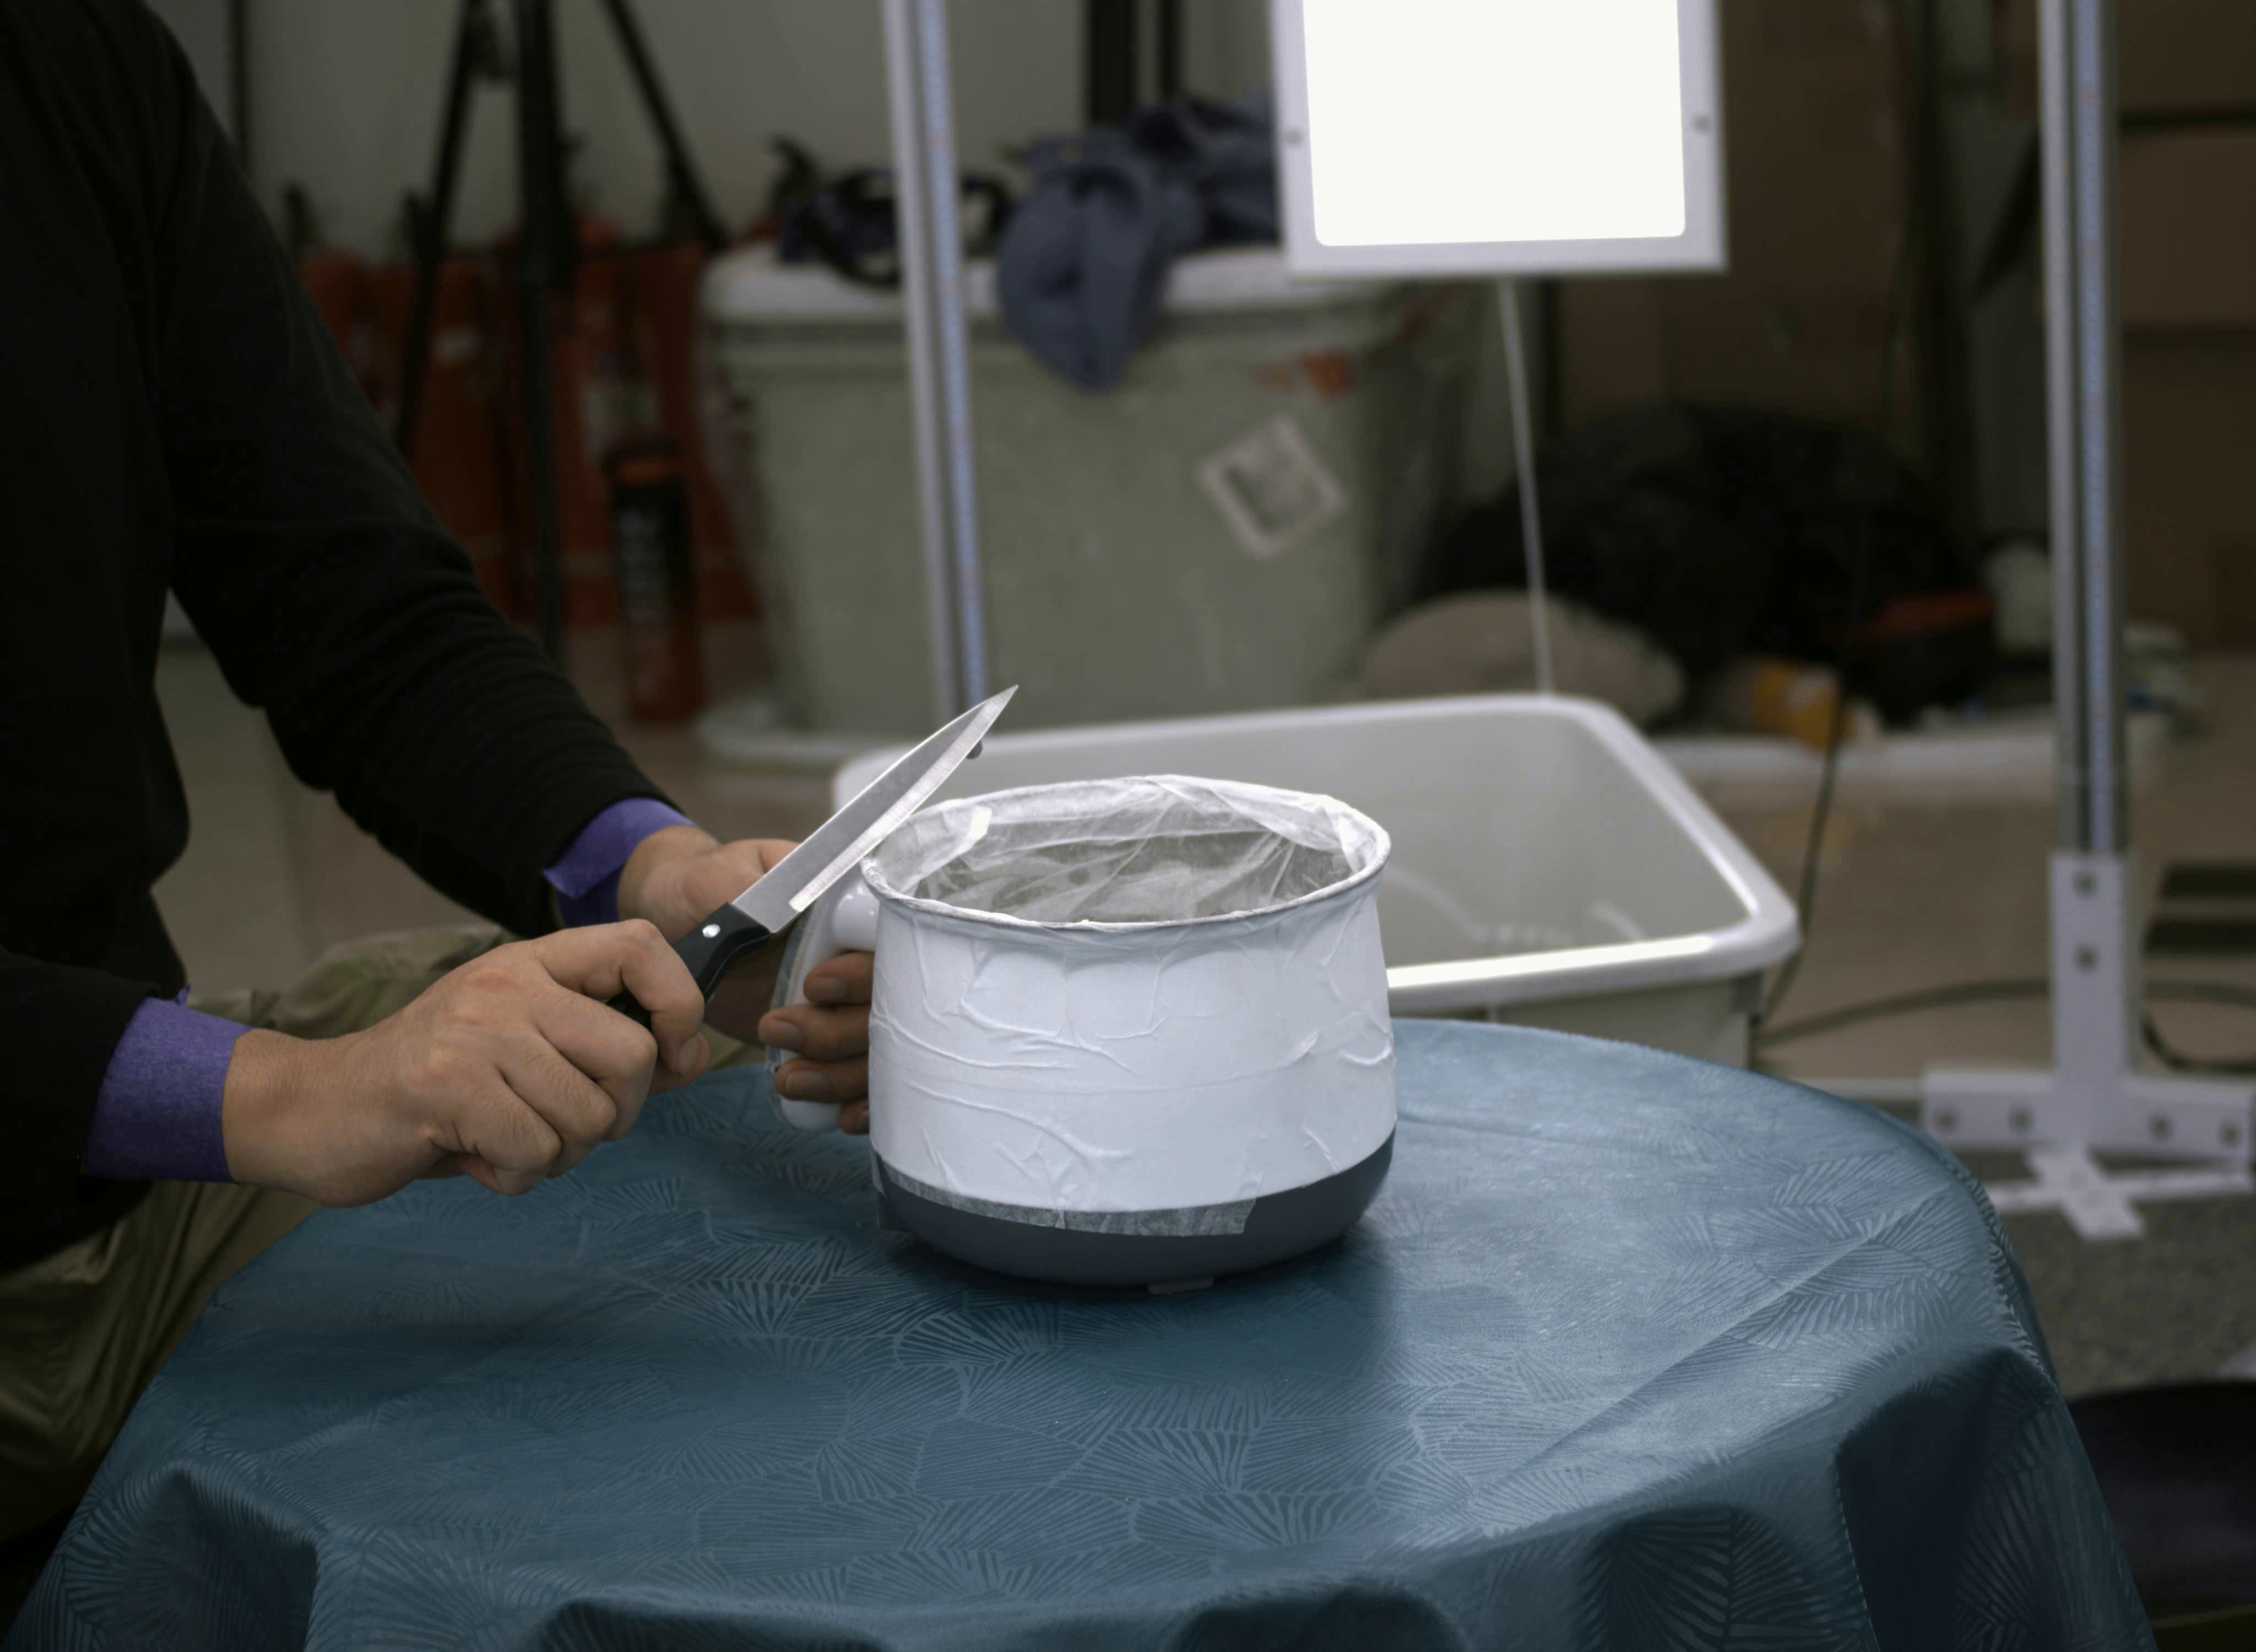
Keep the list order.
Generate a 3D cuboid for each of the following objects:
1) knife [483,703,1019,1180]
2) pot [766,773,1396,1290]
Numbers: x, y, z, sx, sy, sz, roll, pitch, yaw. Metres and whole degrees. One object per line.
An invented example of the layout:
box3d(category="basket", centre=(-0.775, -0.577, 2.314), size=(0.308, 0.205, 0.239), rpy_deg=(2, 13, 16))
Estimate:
box3d(category="knife", centre=(-0.123, 0.033, 1.811), size=(0.235, 0.016, 0.025), rpy_deg=(-42, 53, -16))
box3d(category="pot", centre=(-0.023, 0.063, 1.852), size=(0.238, 0.137, 0.174), rpy_deg=(8, 18, 32))
